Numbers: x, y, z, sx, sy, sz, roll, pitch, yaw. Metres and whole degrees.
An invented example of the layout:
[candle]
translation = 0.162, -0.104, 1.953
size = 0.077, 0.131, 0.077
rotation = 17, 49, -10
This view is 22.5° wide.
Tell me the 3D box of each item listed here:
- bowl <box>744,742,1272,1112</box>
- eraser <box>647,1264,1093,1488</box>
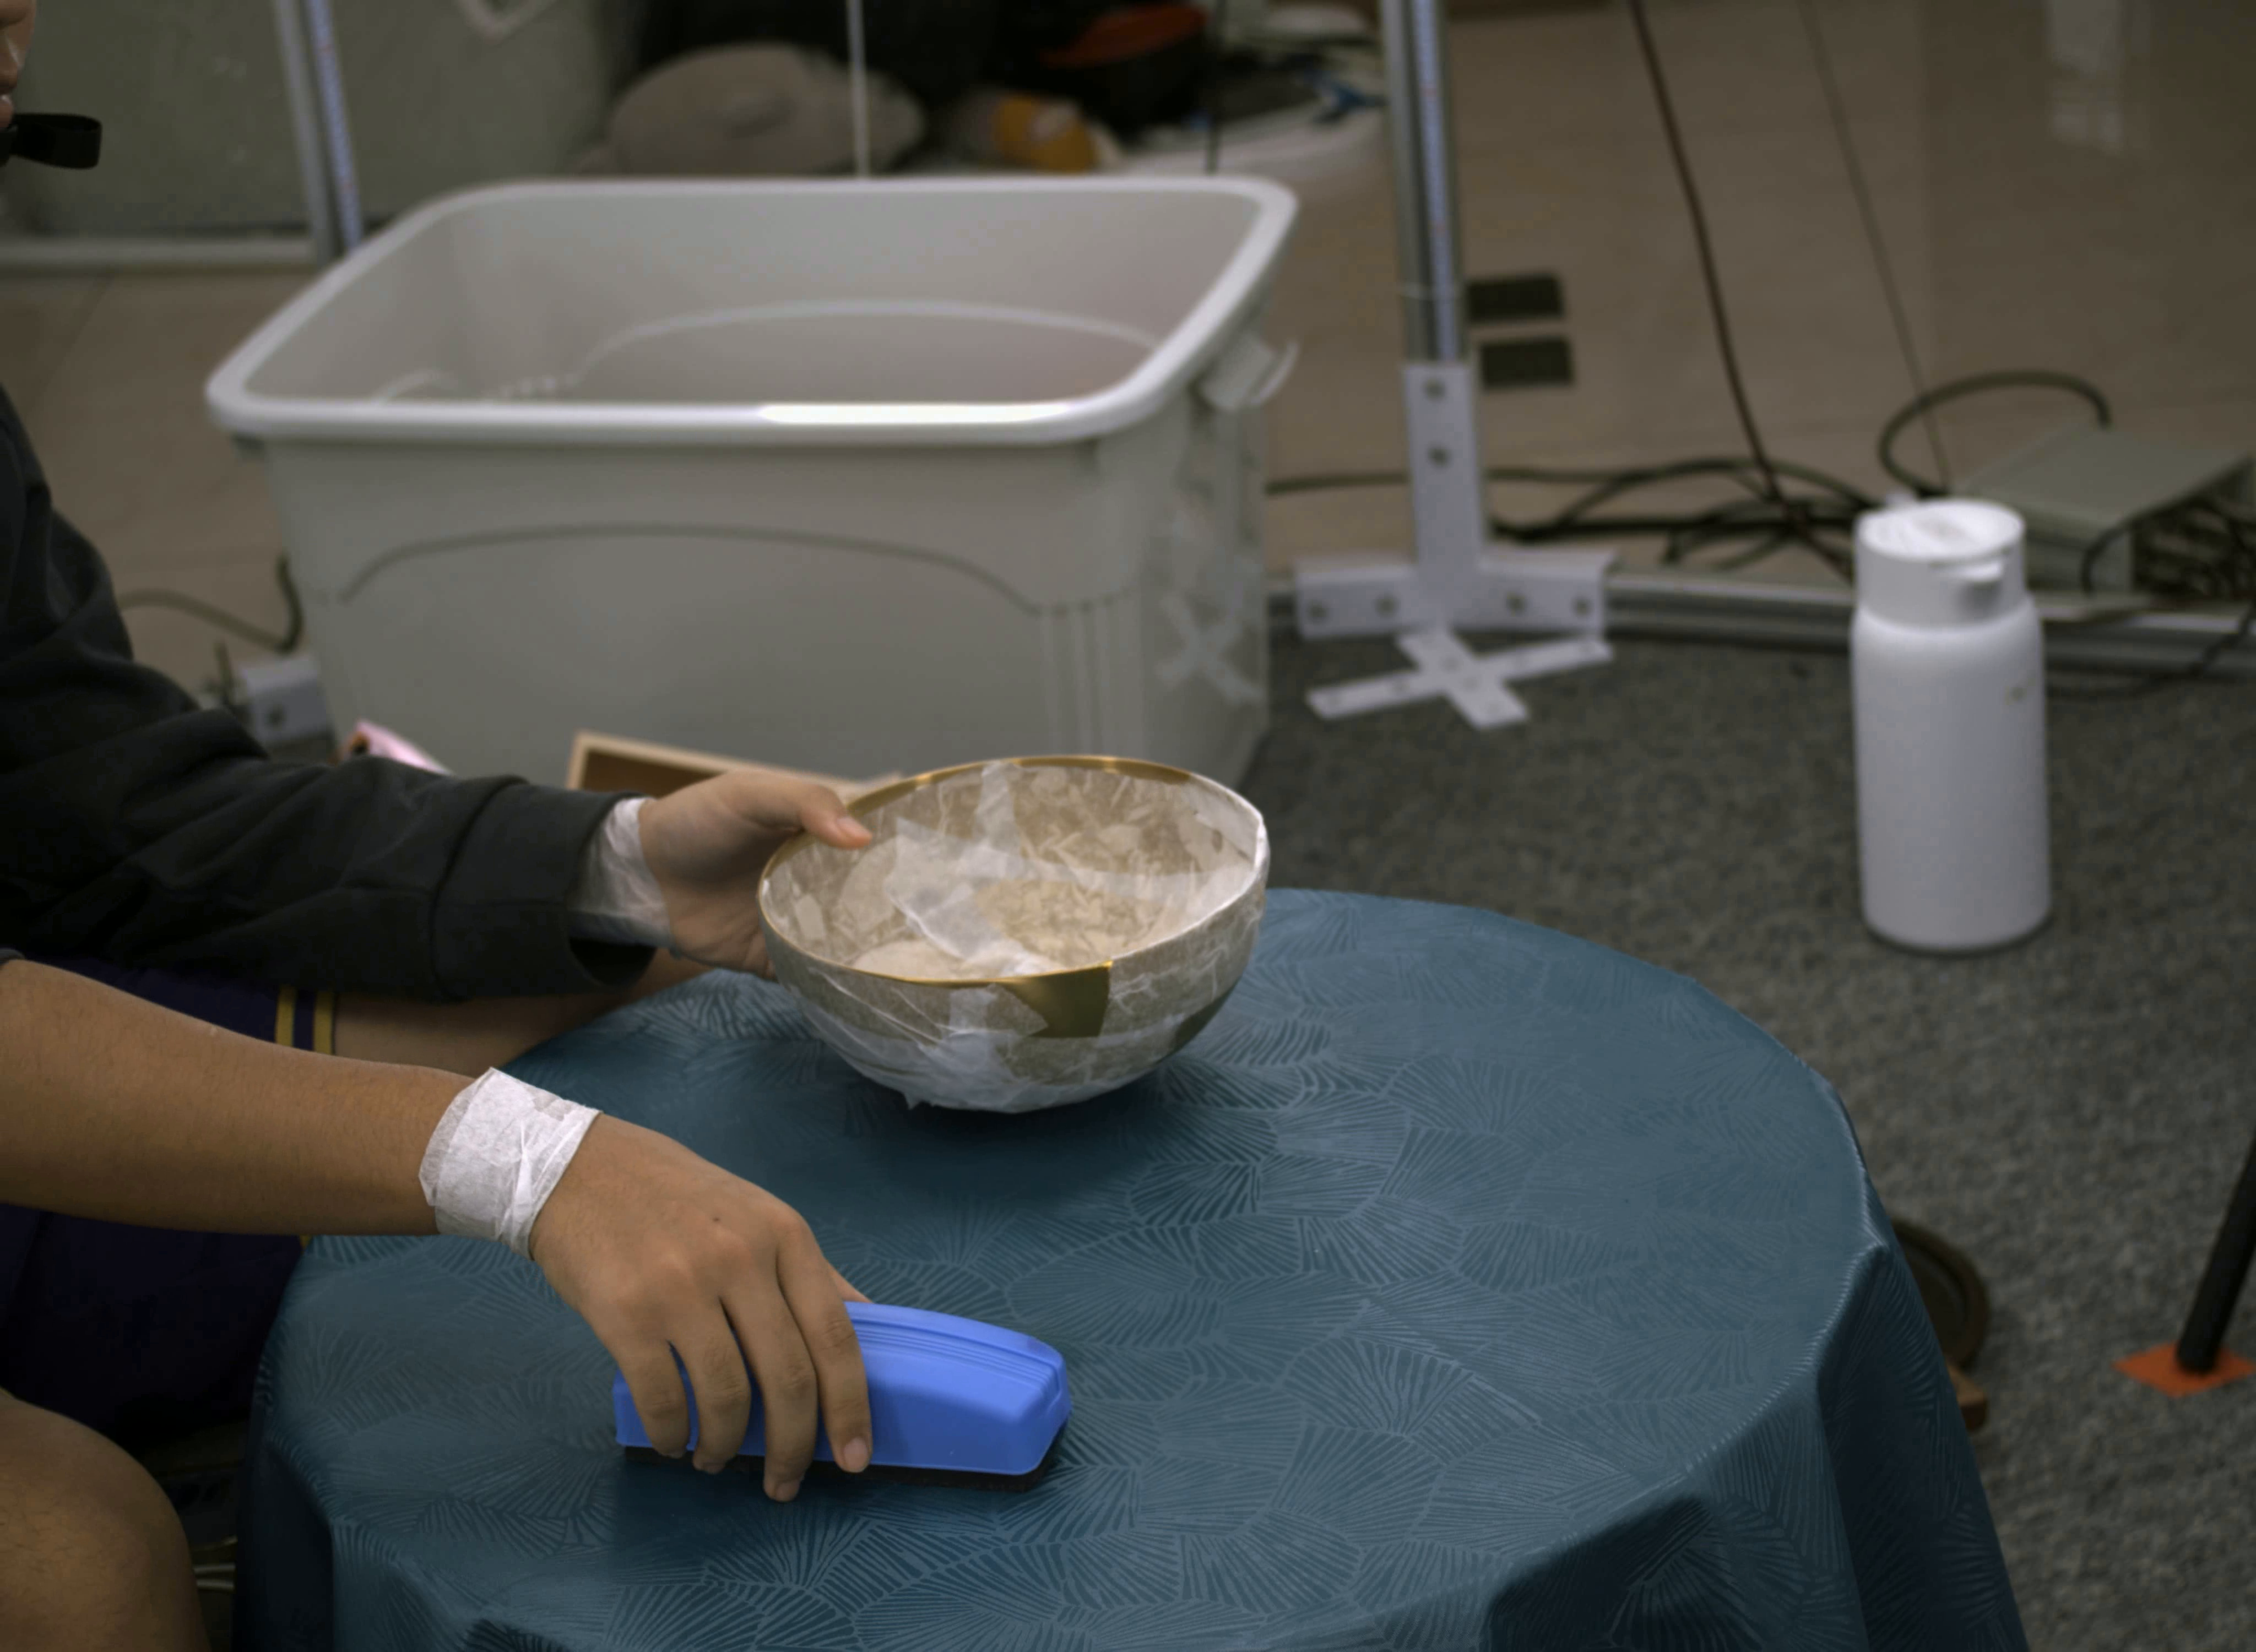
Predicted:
[bowl]
translation = -0.044, 0.052, 2.230
size = 0.214, 0.096, 0.211
rotation = -5, 27, 3
[eraser]
translation = -0.093, 0.189, 2.001
size = 0.161, 0.048, 0.053
rotation = 9, 35, 26
